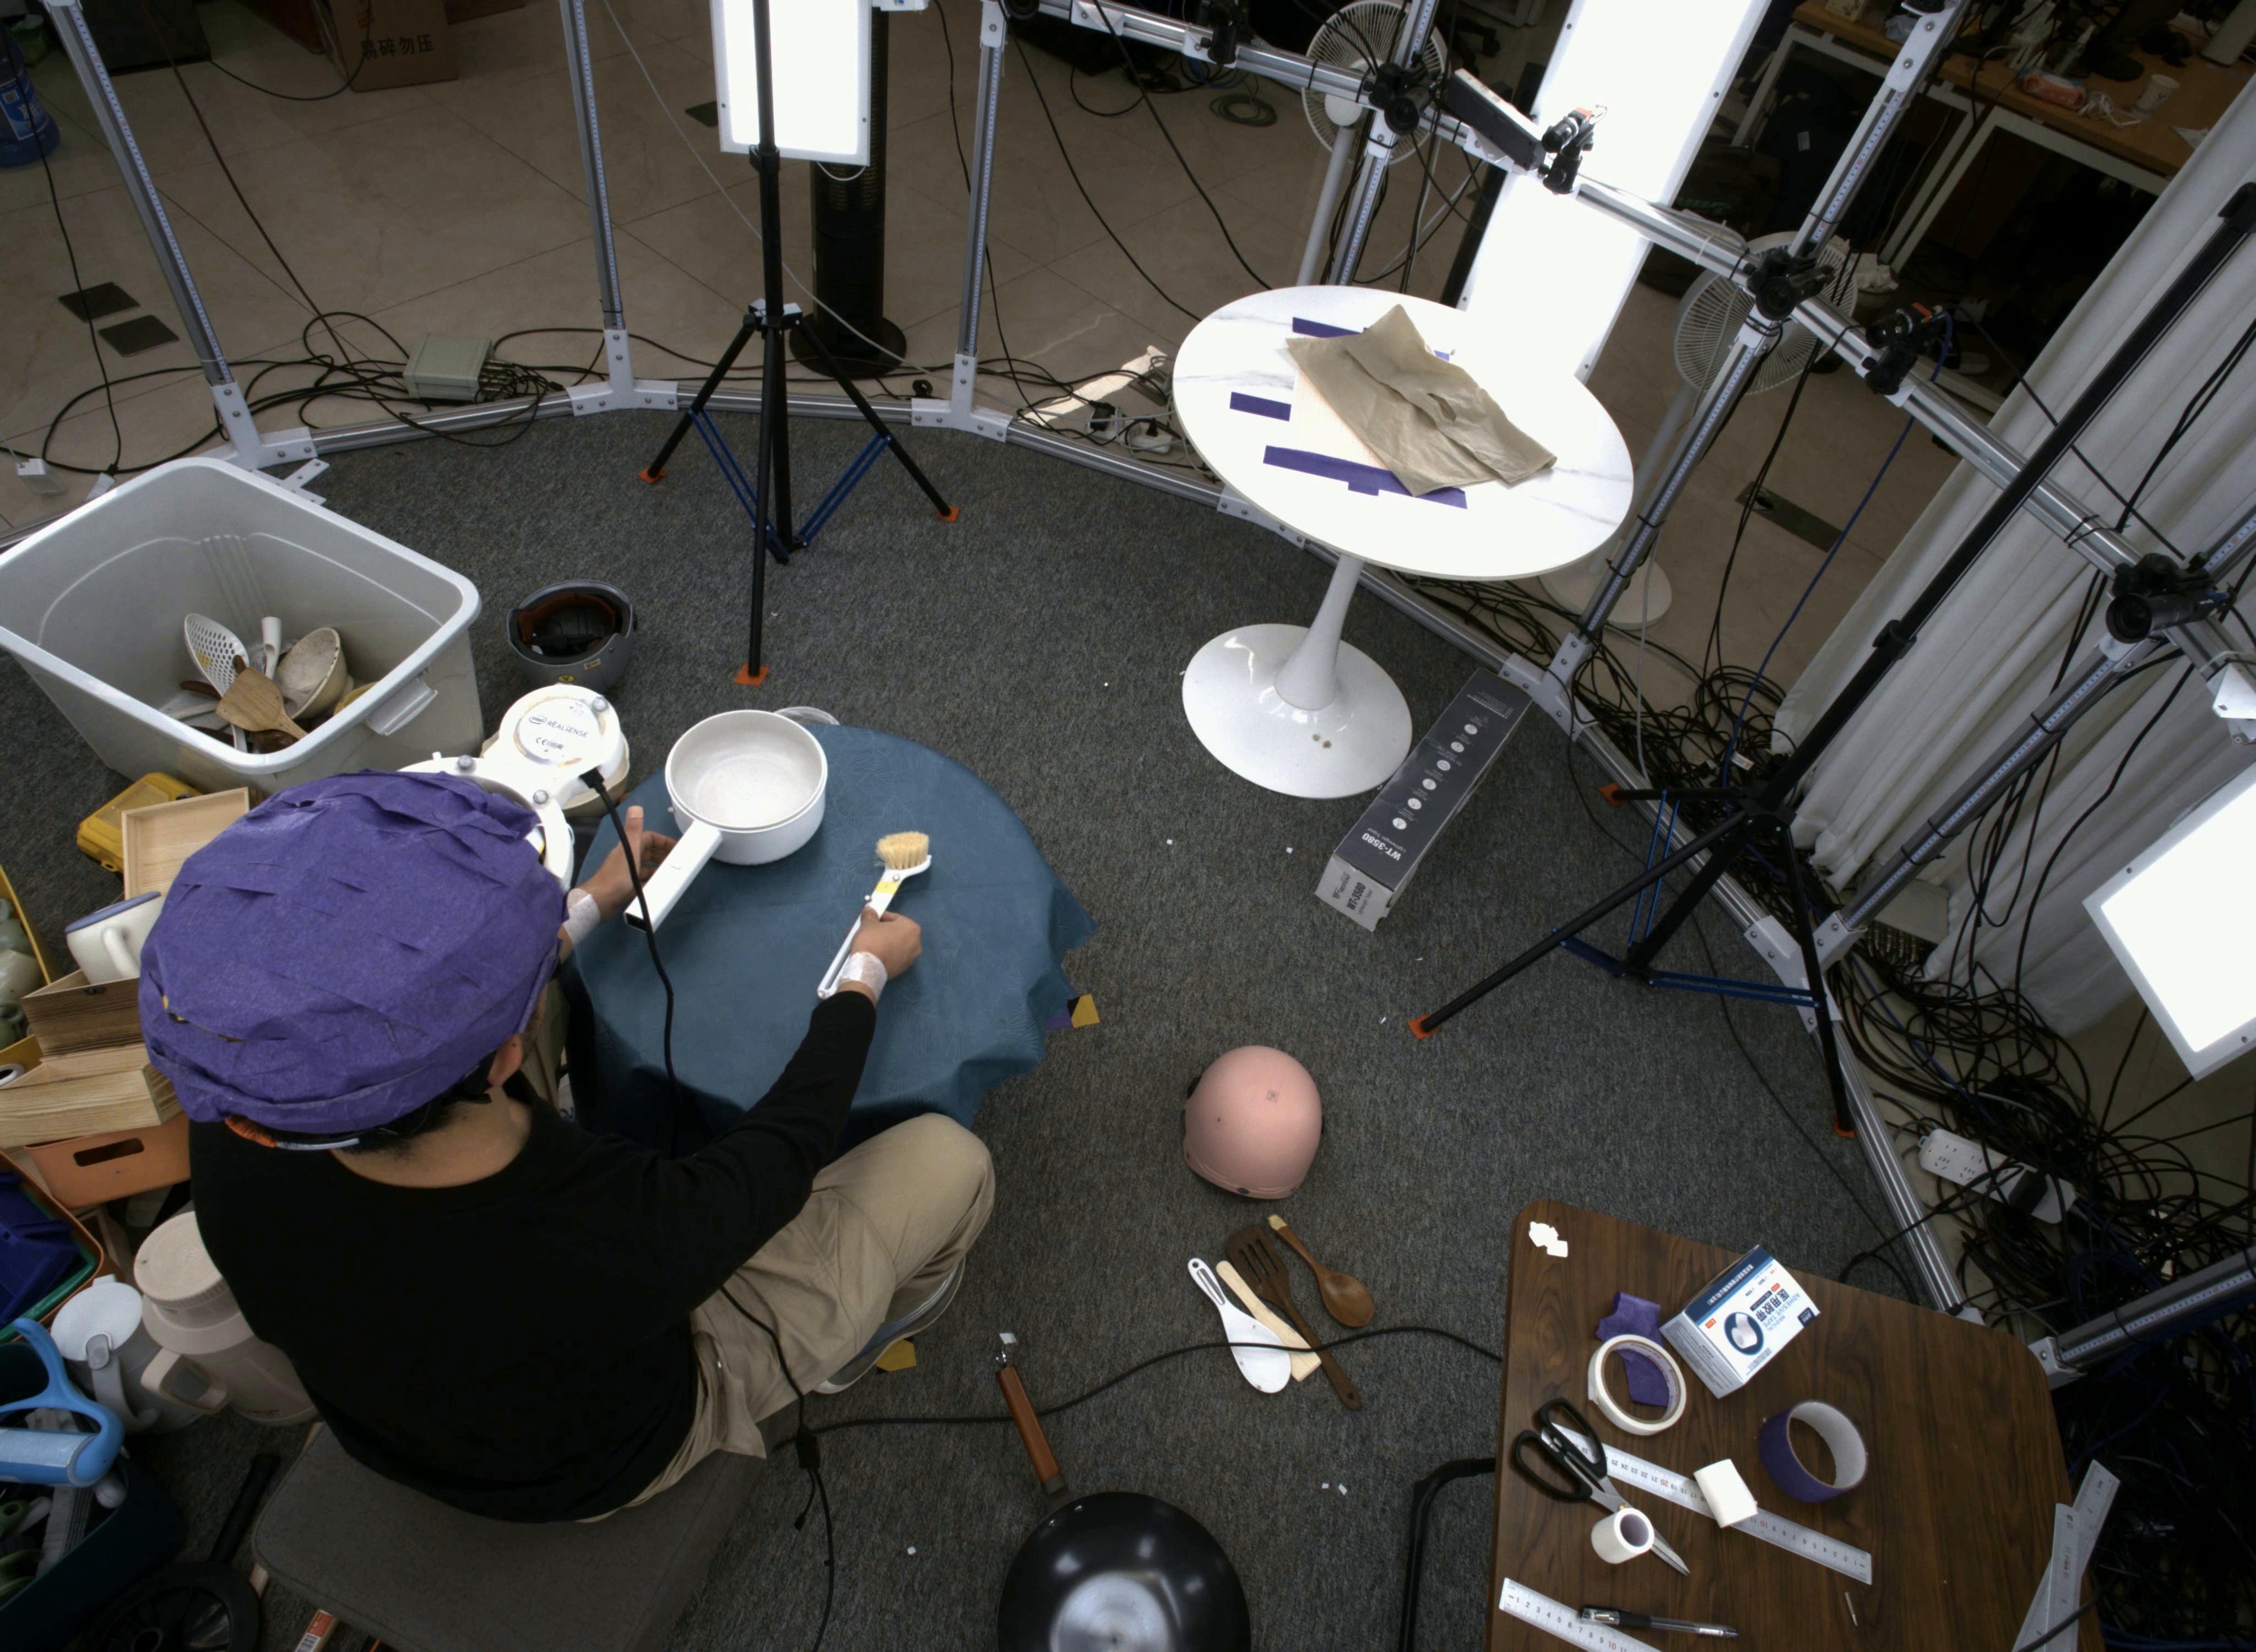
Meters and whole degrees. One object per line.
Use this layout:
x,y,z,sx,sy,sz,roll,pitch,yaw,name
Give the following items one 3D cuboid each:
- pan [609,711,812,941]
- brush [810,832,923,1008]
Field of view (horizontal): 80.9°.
-0.534,0.013,1.618,0.199,0.104,0.351,22,52,2,pan
-0.334,0.104,1.619,0.066,0.058,0.264,1,45,29,brush
